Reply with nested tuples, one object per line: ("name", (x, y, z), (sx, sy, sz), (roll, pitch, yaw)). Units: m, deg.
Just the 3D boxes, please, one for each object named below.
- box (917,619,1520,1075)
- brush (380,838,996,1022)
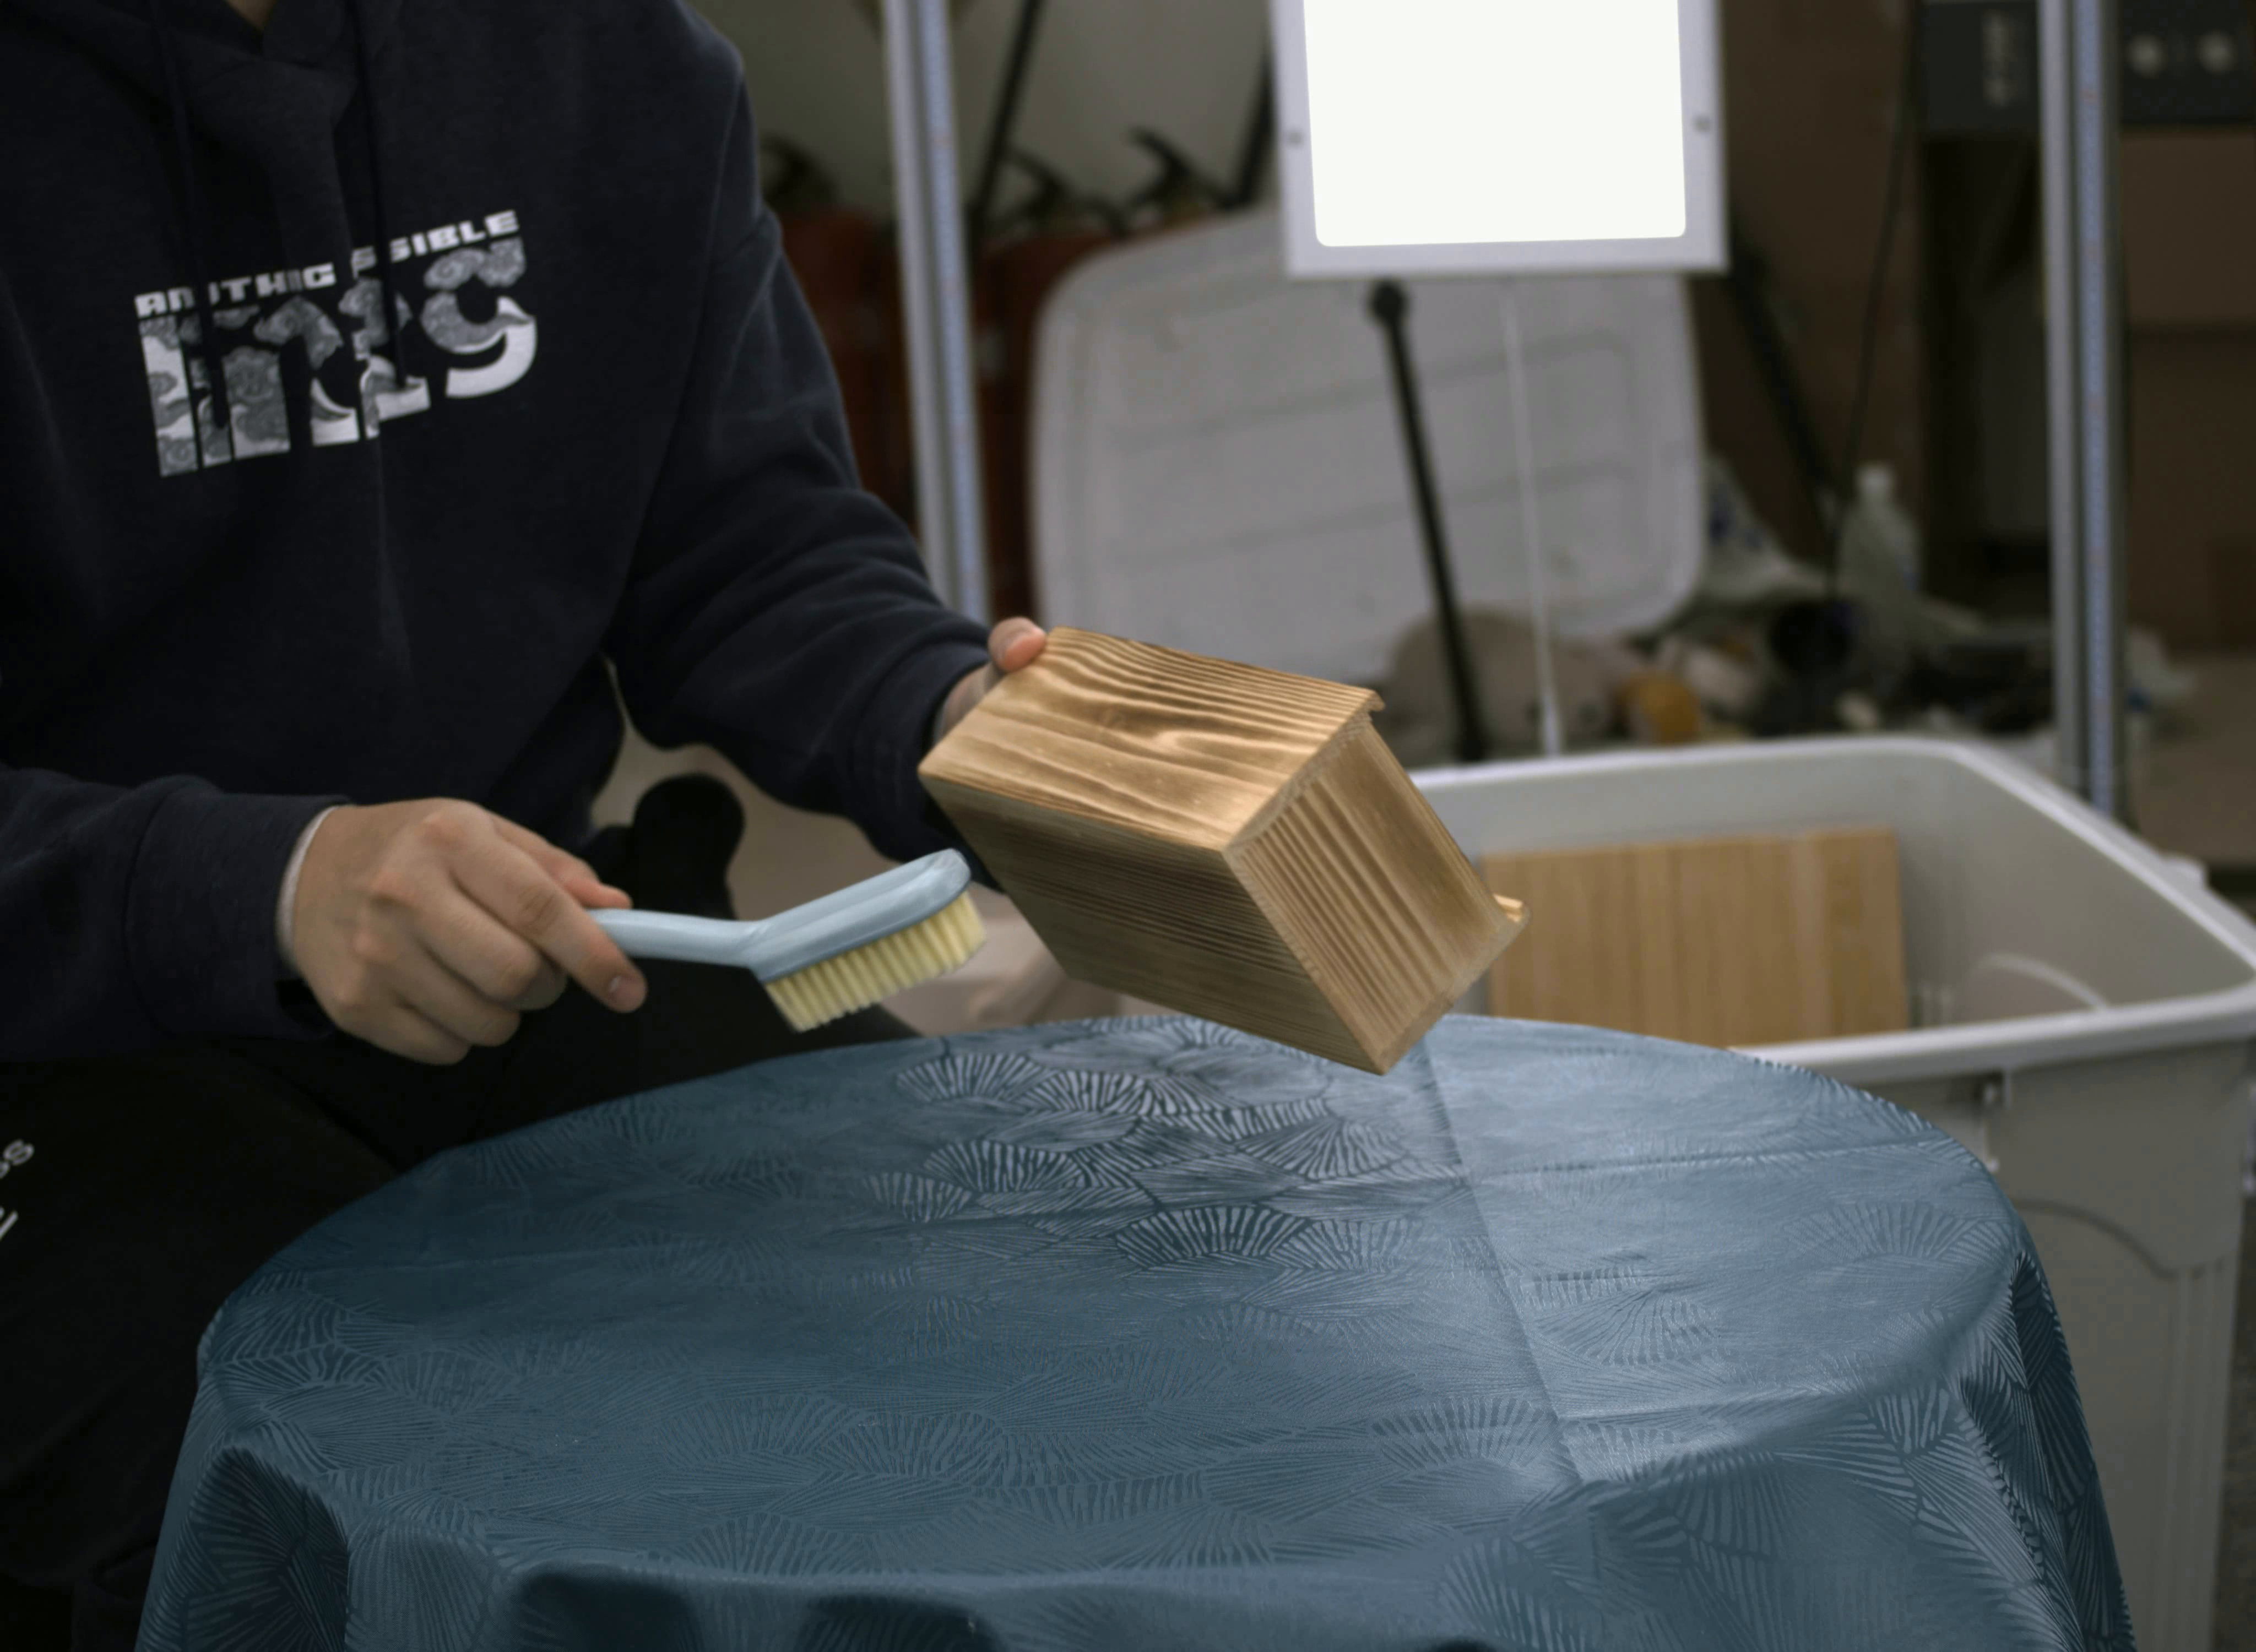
("box", (0.029, 0.004, 1.912), (0.079, 0.107, 0.215), (-44, 26, -16))
("brush", (-0.149, 0.044, 1.829), (0.232, 0.049, 0.037), (-9, 24, 26))
